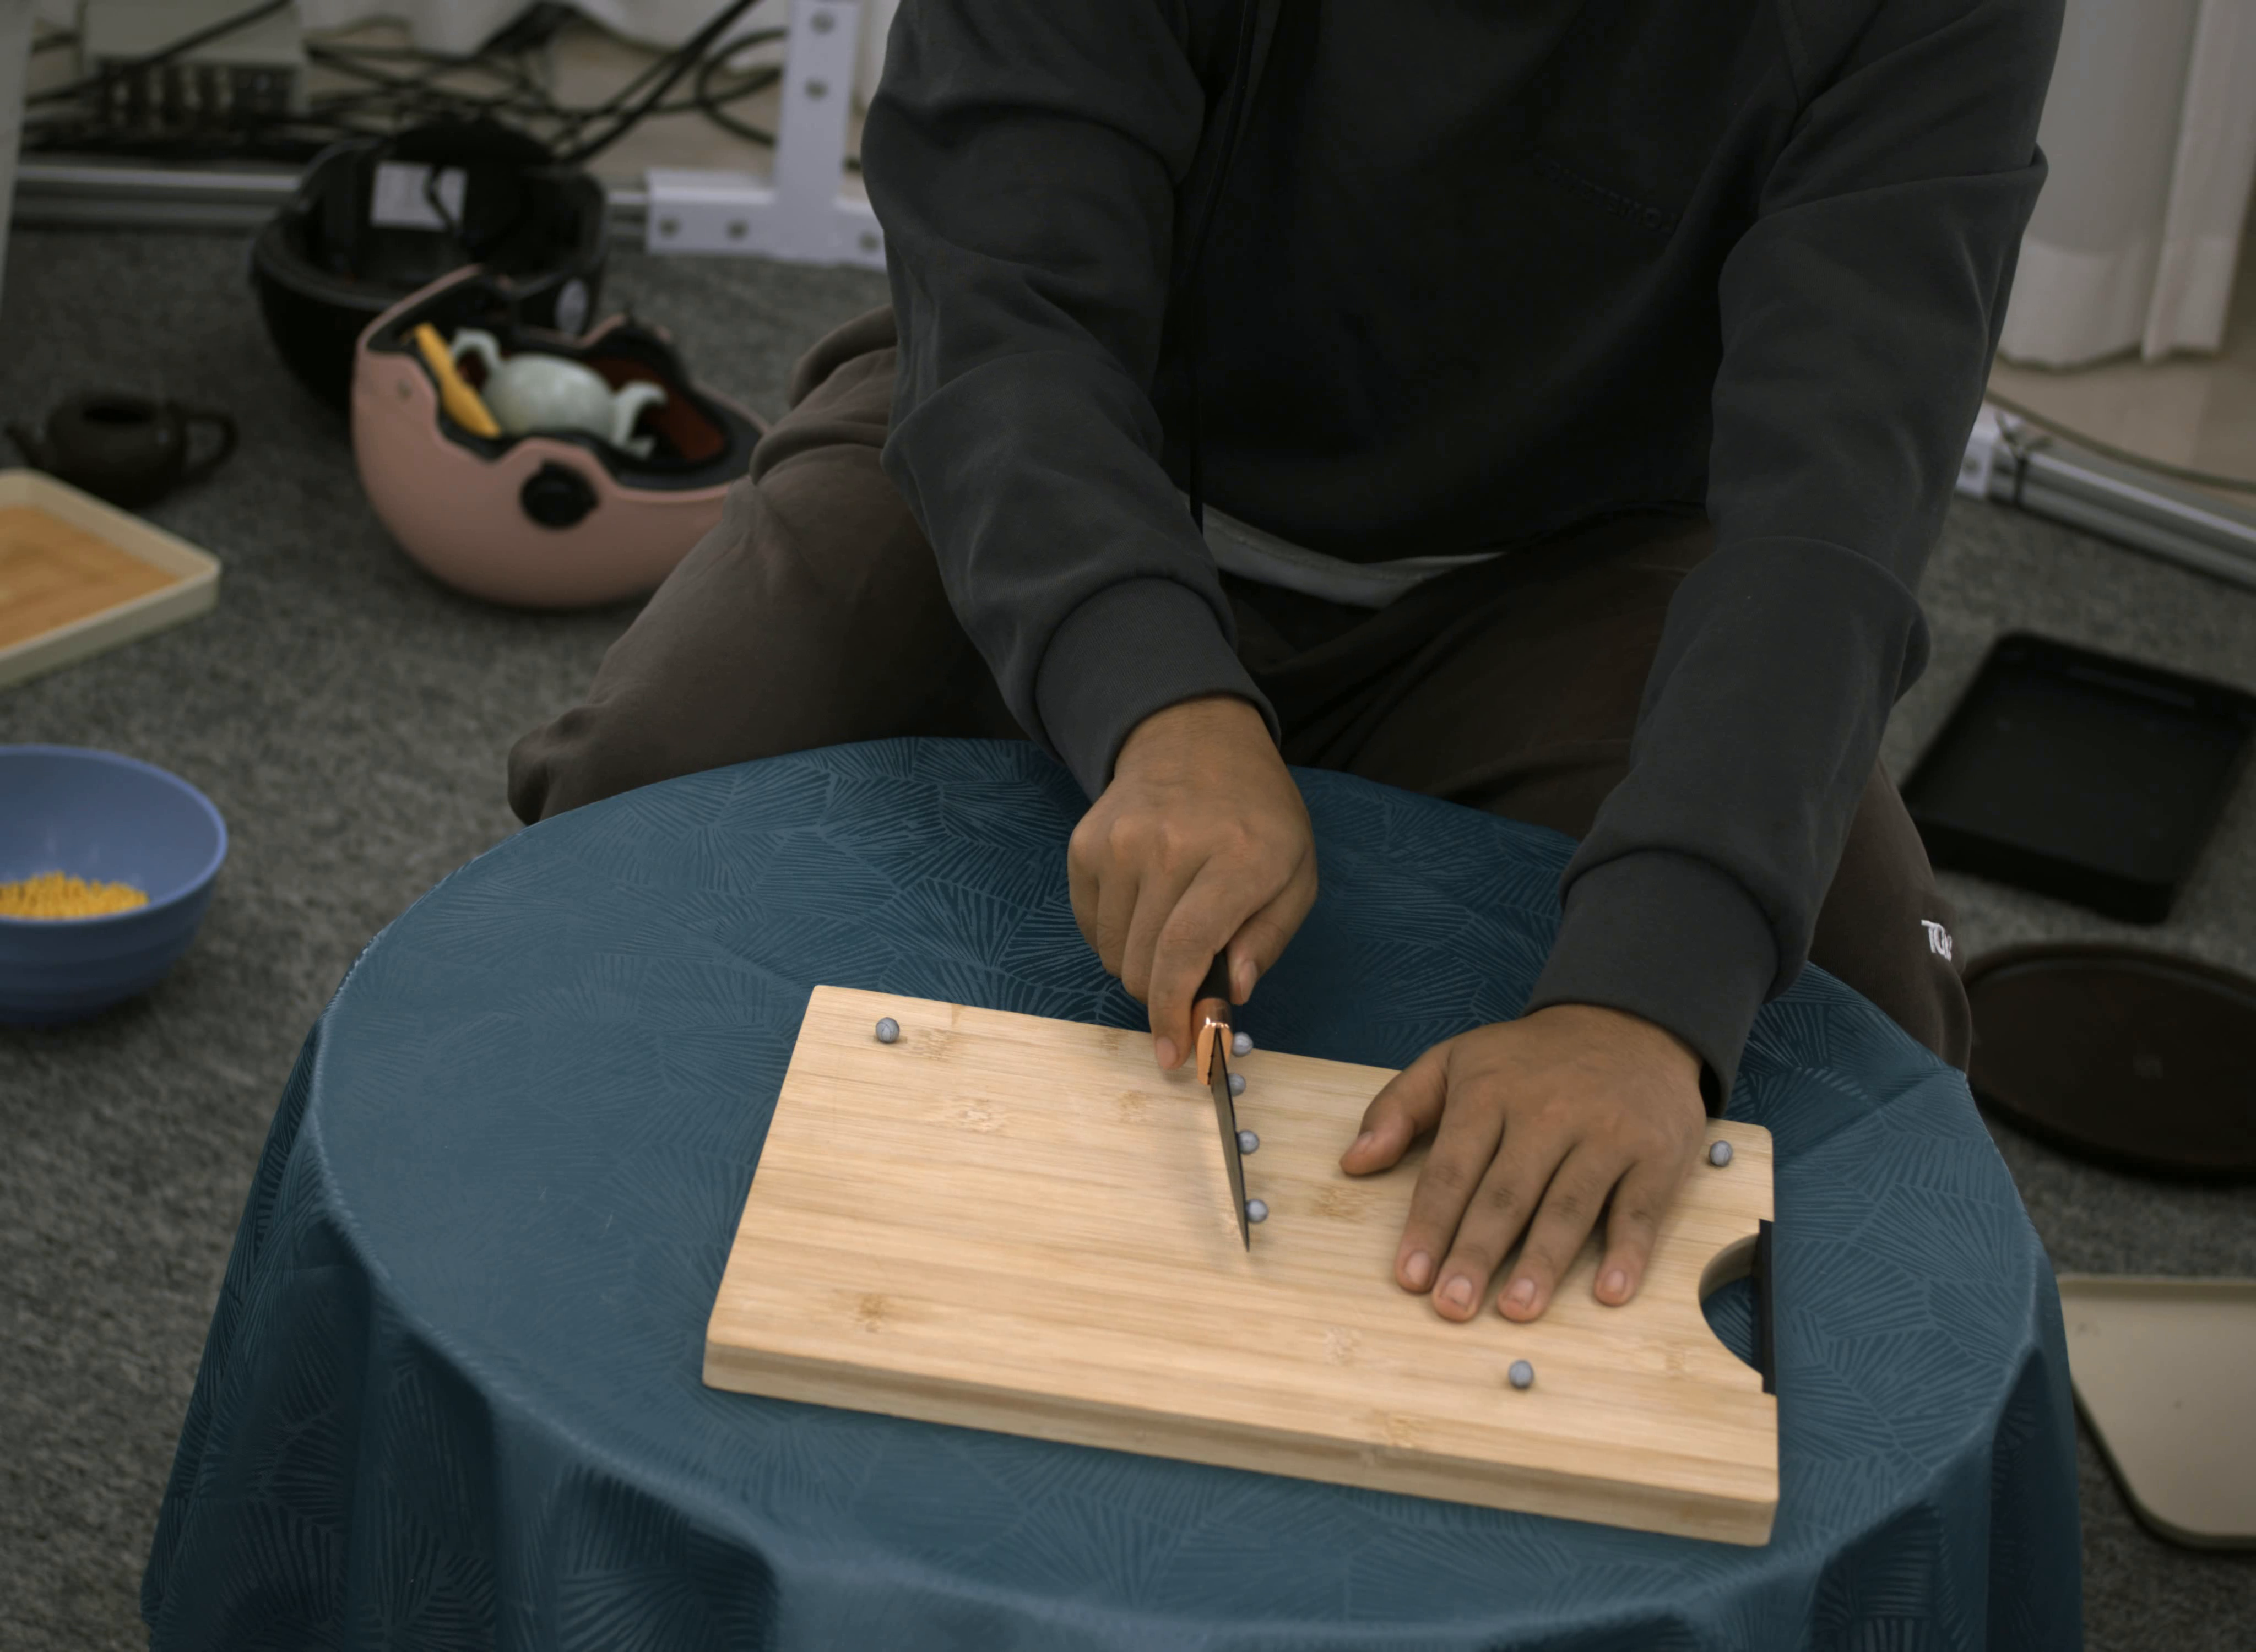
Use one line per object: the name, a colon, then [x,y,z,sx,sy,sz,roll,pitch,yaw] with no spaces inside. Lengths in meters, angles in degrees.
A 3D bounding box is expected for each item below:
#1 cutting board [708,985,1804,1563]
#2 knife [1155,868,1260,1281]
cutting board: [0.050,0.142,1.763,0.348,0.023,0.252,8,27,2]
knife: [0.029,0.082,1.818,0.017,0.026,0.227,1,32,-8]
